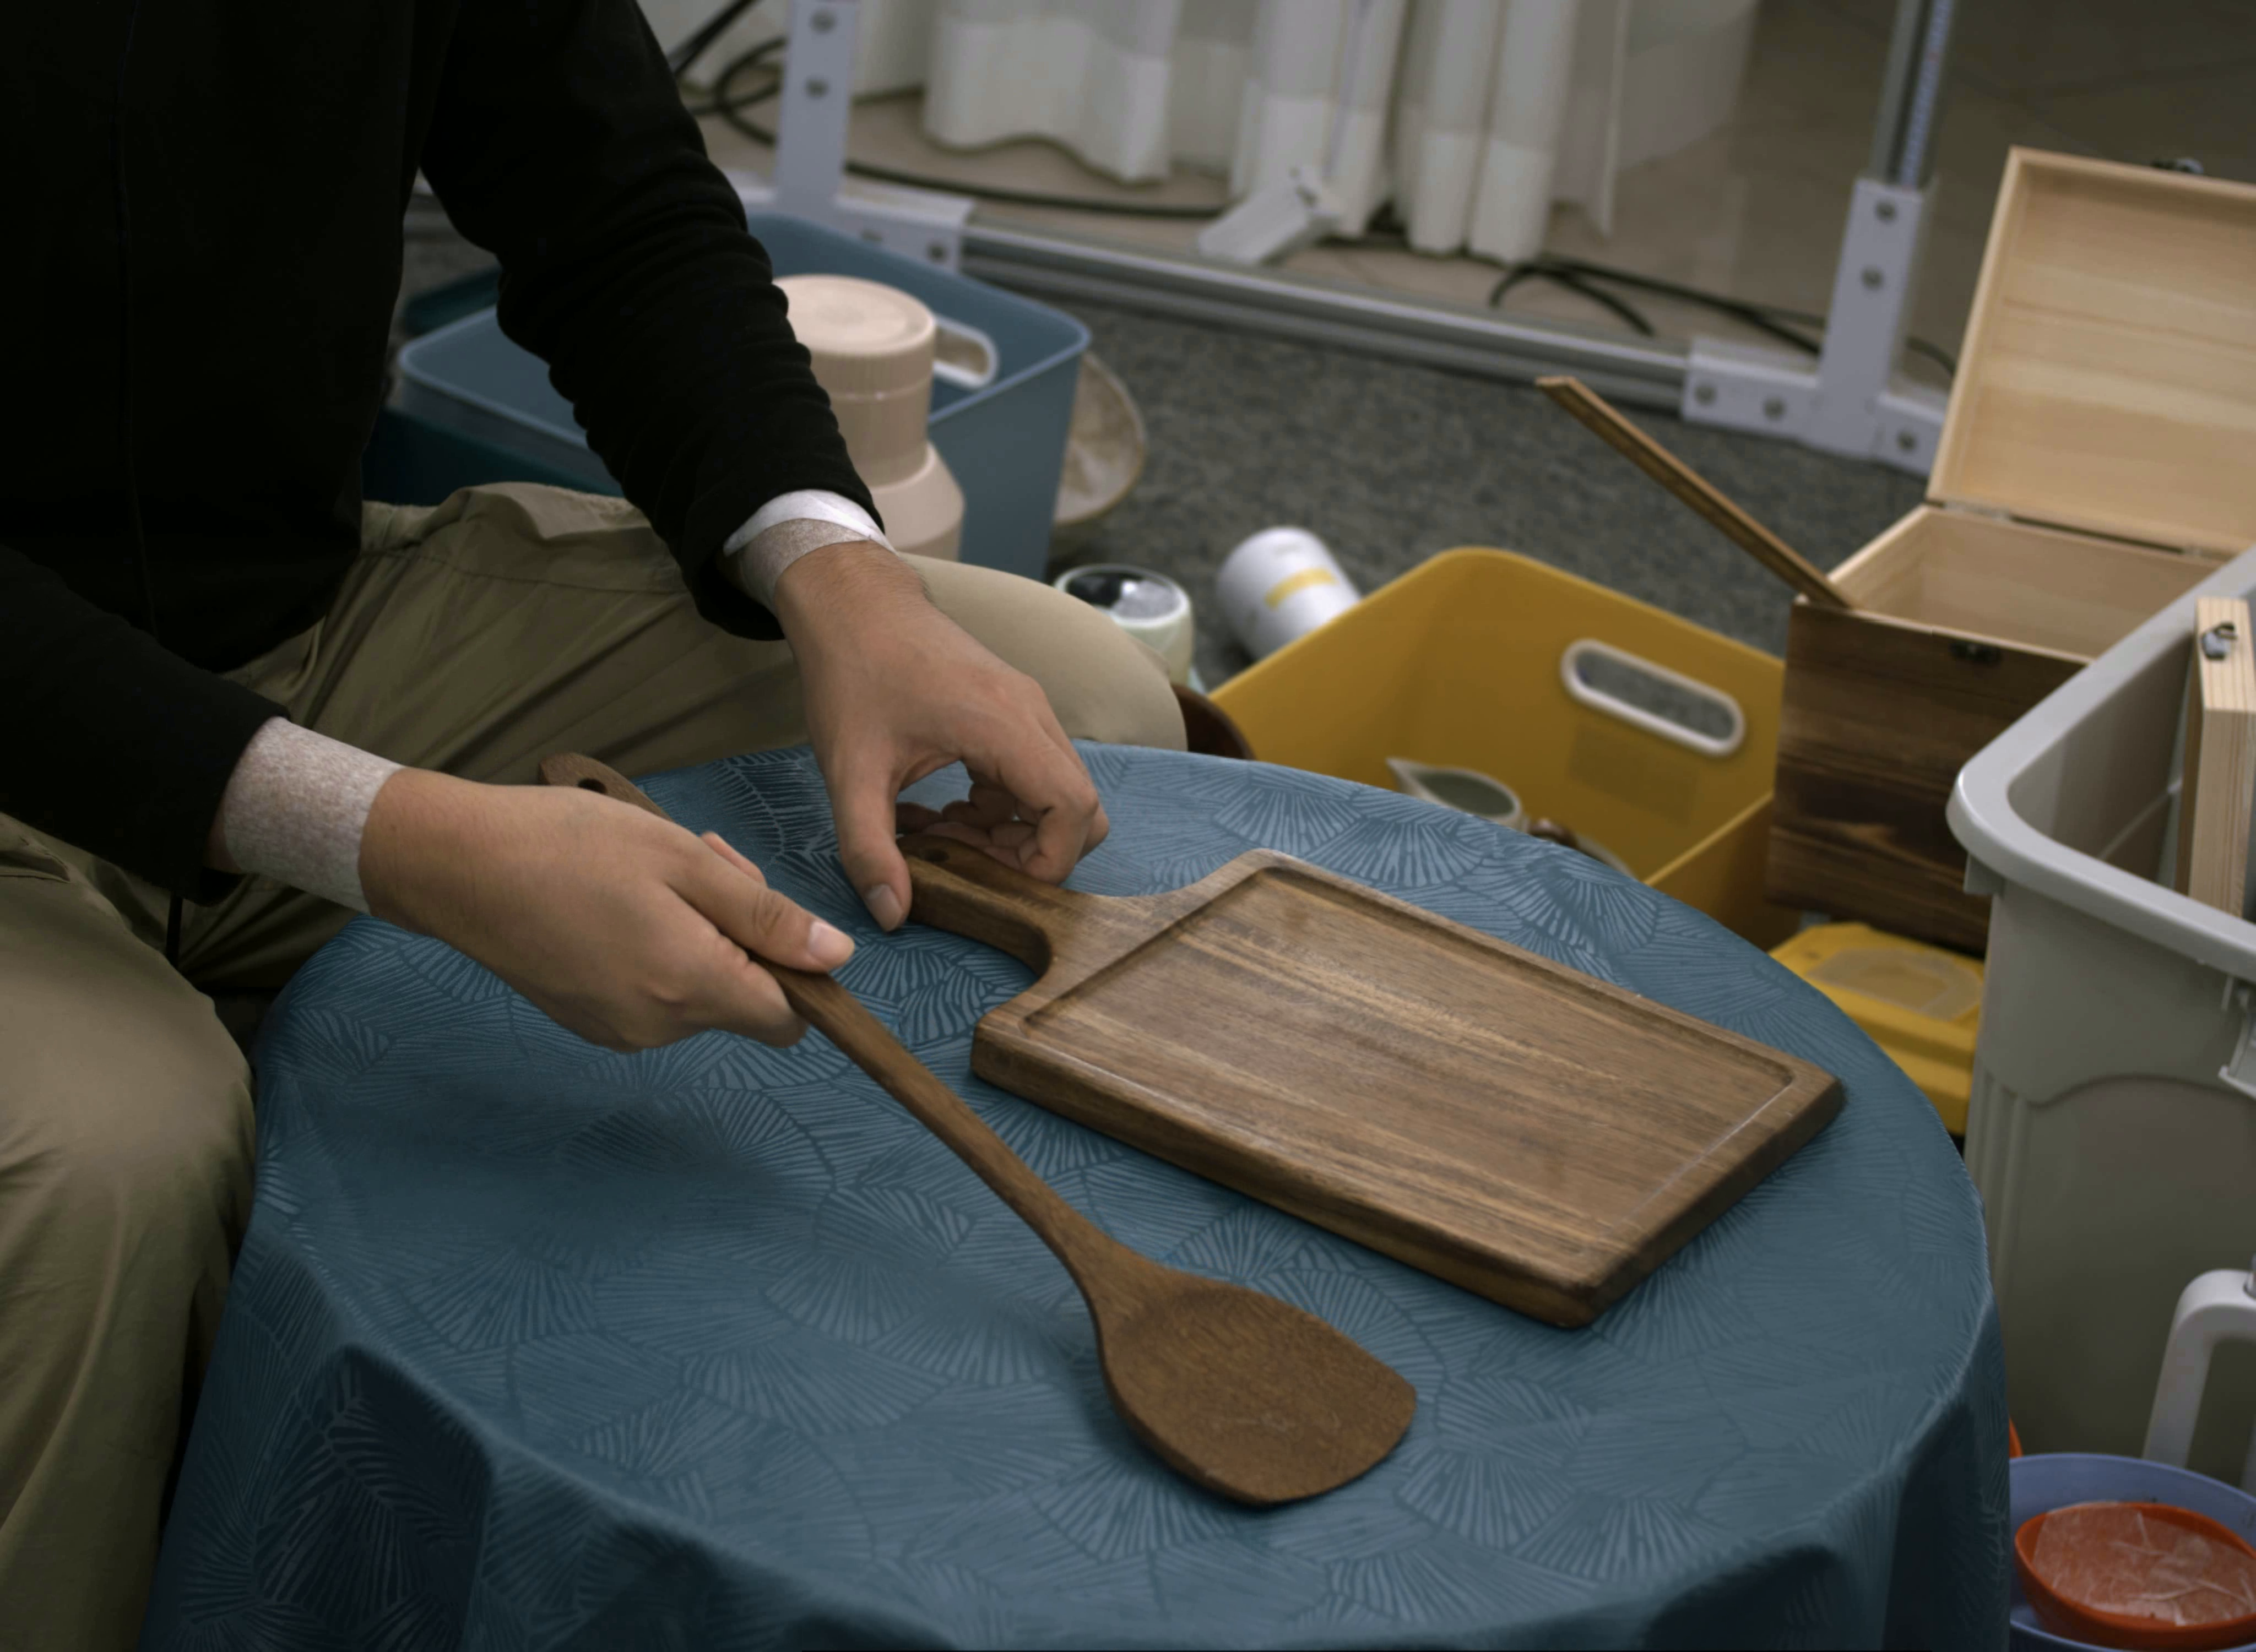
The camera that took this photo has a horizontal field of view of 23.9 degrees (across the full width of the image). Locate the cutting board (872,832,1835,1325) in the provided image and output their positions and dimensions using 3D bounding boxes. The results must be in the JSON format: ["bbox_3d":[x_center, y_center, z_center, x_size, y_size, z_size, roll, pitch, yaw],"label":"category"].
[{"bbox_3d":[0.057,0.070,1.896,0.354,0.023,0.200,21,30,27],"label":"cutting board"}]

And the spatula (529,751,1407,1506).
[{"bbox_3d":[-0.066,0.089,1.739,0.388,0.016,0.096,41,41,23],"label":"spatula"}]
